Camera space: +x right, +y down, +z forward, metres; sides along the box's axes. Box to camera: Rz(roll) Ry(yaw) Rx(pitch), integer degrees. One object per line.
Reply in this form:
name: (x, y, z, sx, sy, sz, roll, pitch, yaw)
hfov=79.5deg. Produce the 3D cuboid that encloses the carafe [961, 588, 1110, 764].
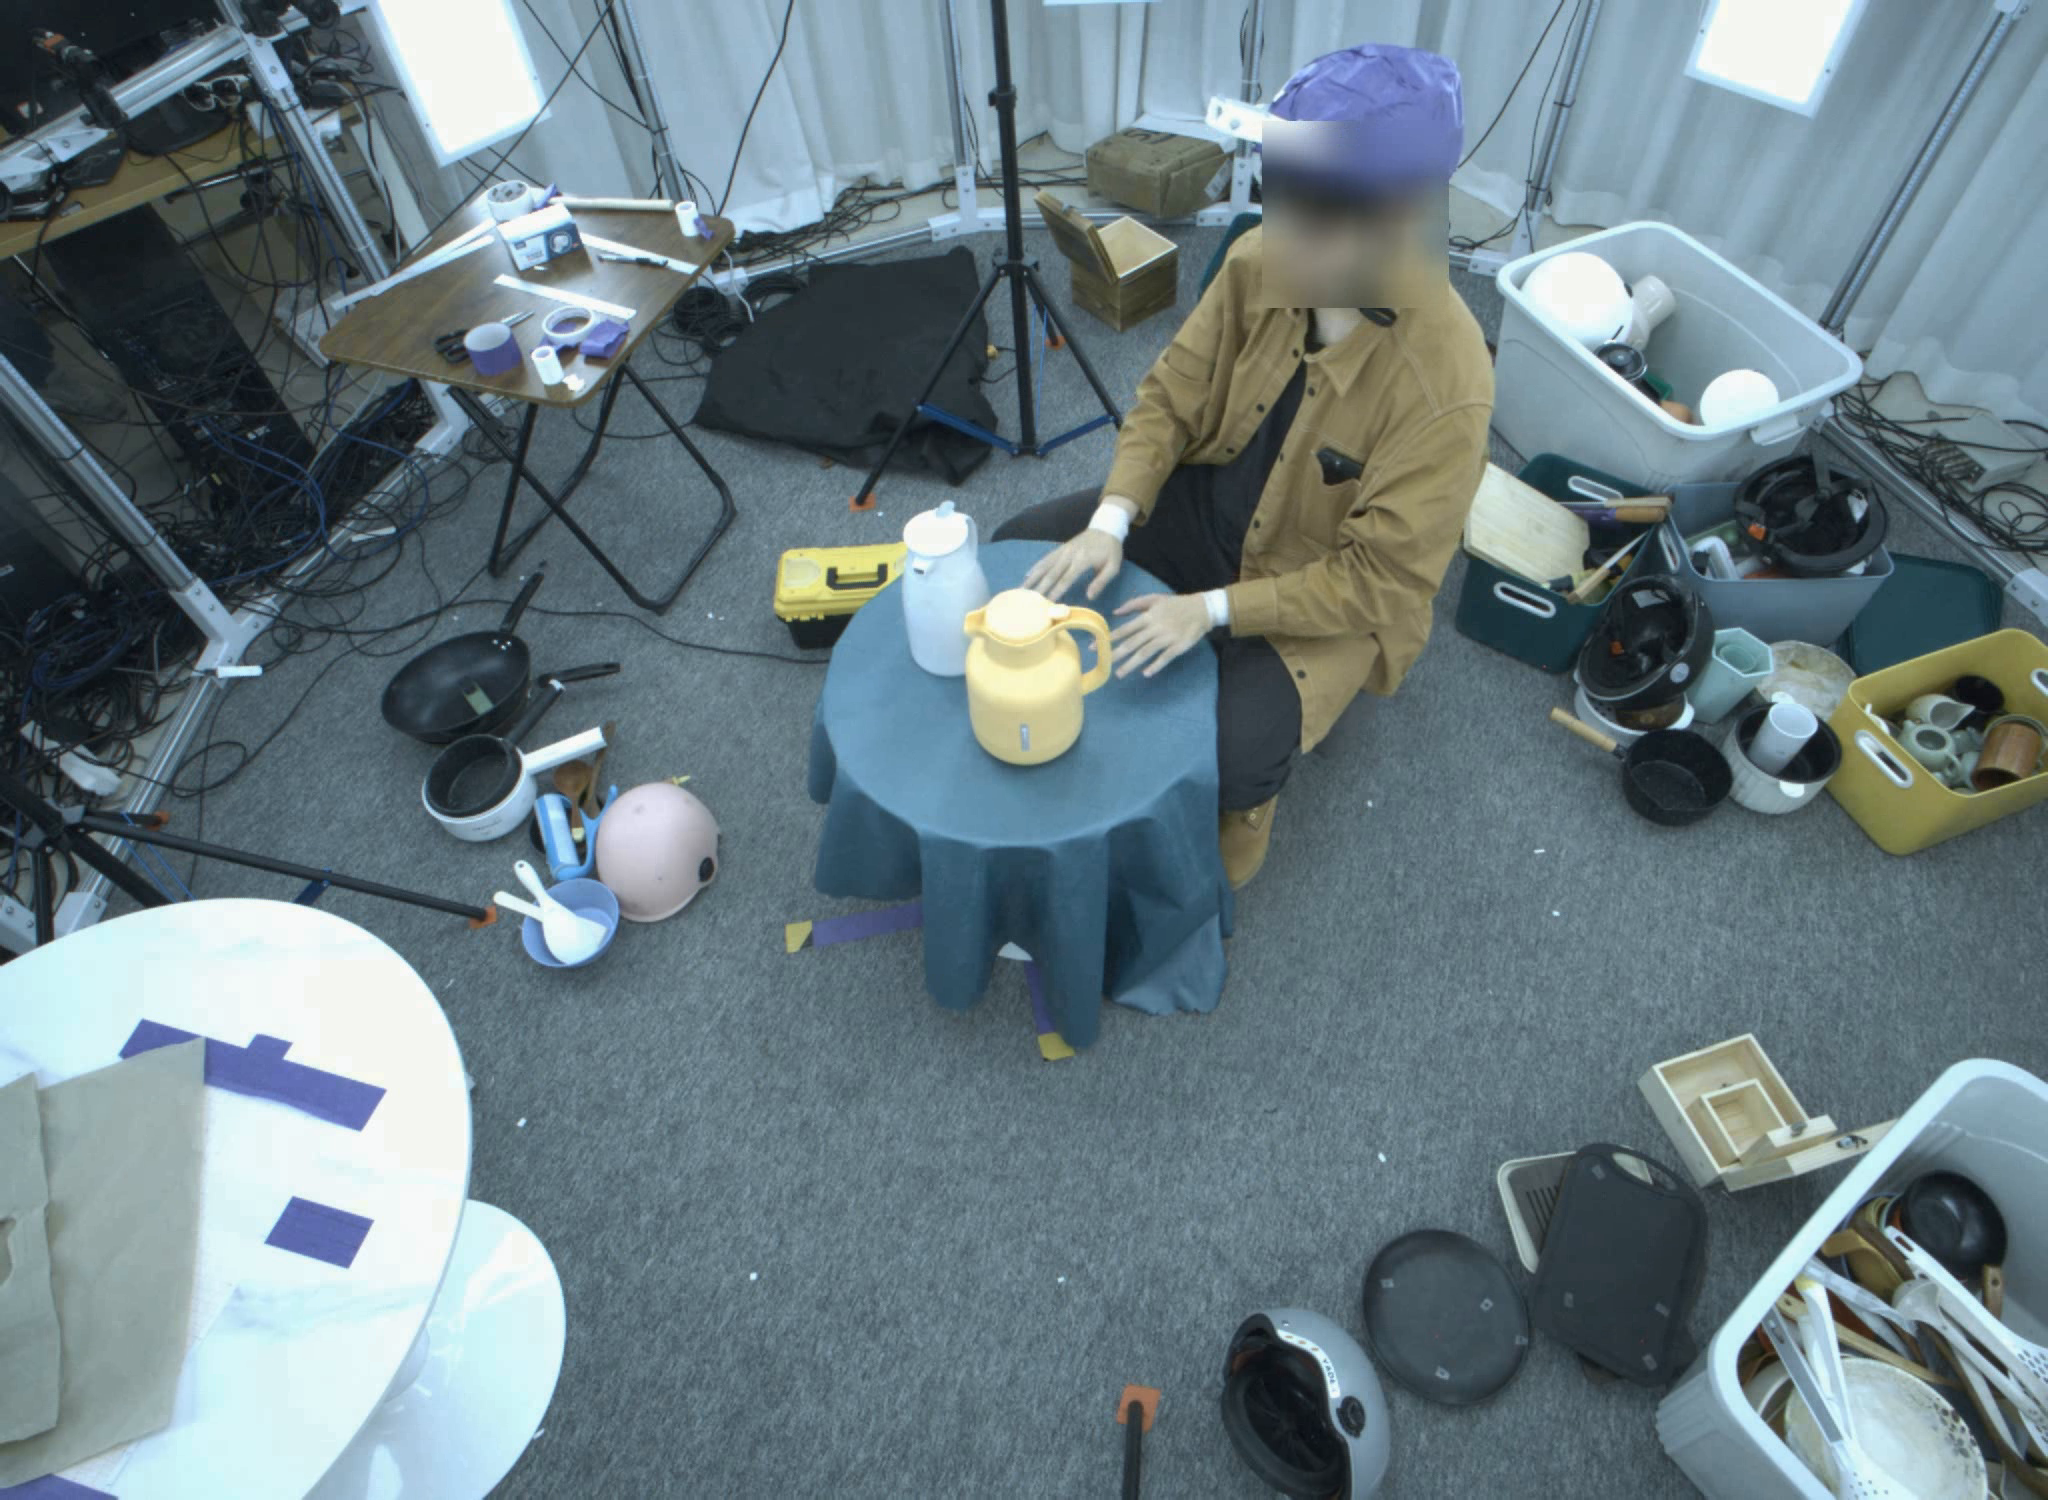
carafe: (0.018, -0.107, 1.698, 0.202, 0.263, 0.162, -3, 56, 3)

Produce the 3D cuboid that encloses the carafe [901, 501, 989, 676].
carafe: (-0.114, -0.252, 1.813, 0.131, 0.251, 0.167, 14, 56, 14)
